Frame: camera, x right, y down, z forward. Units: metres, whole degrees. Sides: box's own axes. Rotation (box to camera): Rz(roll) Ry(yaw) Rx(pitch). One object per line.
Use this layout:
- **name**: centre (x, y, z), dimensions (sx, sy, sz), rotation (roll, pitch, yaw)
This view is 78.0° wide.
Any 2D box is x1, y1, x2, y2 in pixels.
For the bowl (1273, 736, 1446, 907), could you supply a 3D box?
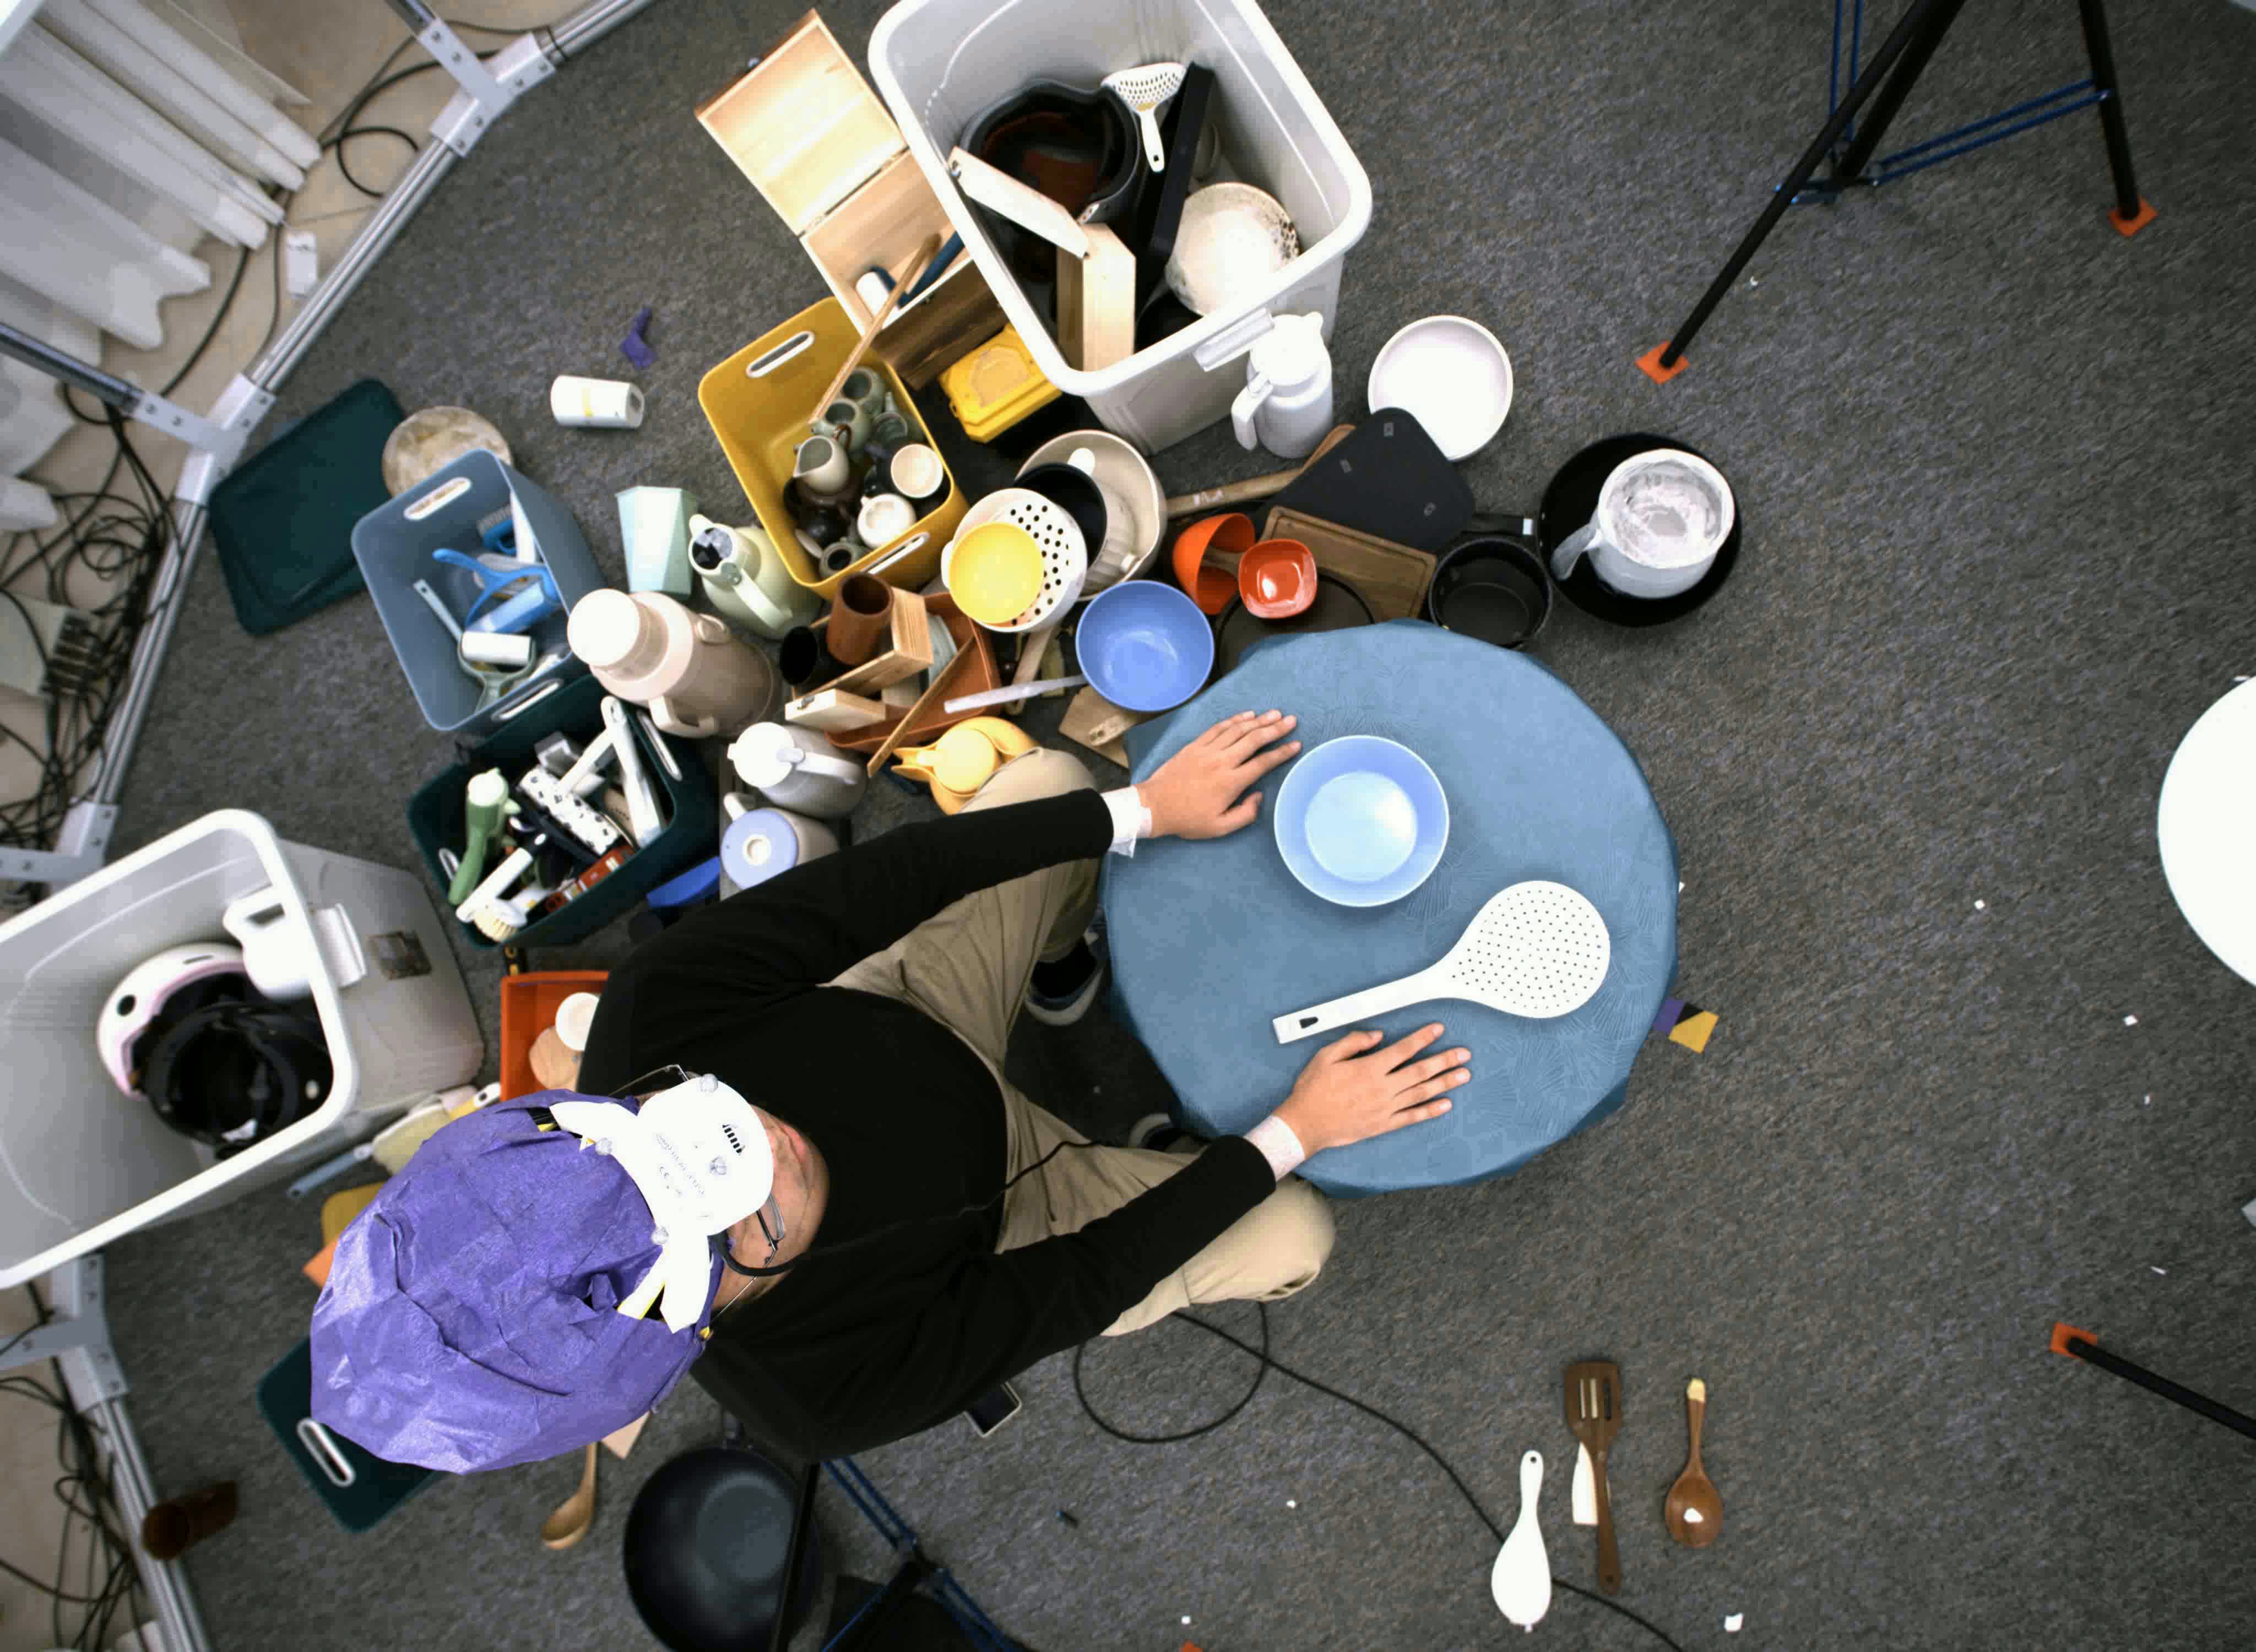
- **bowl**: centre (0.241, -0.003, 1.434), dimensions (0.177, 0.070, 0.175), rotation (-1, 87, 11)

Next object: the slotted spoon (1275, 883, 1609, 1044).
- **slotted spoon**: centre (0.318, 0.160, 1.423), dimensions (0.352, 0.046, 0.135), rotation (-20, 83, 10)
